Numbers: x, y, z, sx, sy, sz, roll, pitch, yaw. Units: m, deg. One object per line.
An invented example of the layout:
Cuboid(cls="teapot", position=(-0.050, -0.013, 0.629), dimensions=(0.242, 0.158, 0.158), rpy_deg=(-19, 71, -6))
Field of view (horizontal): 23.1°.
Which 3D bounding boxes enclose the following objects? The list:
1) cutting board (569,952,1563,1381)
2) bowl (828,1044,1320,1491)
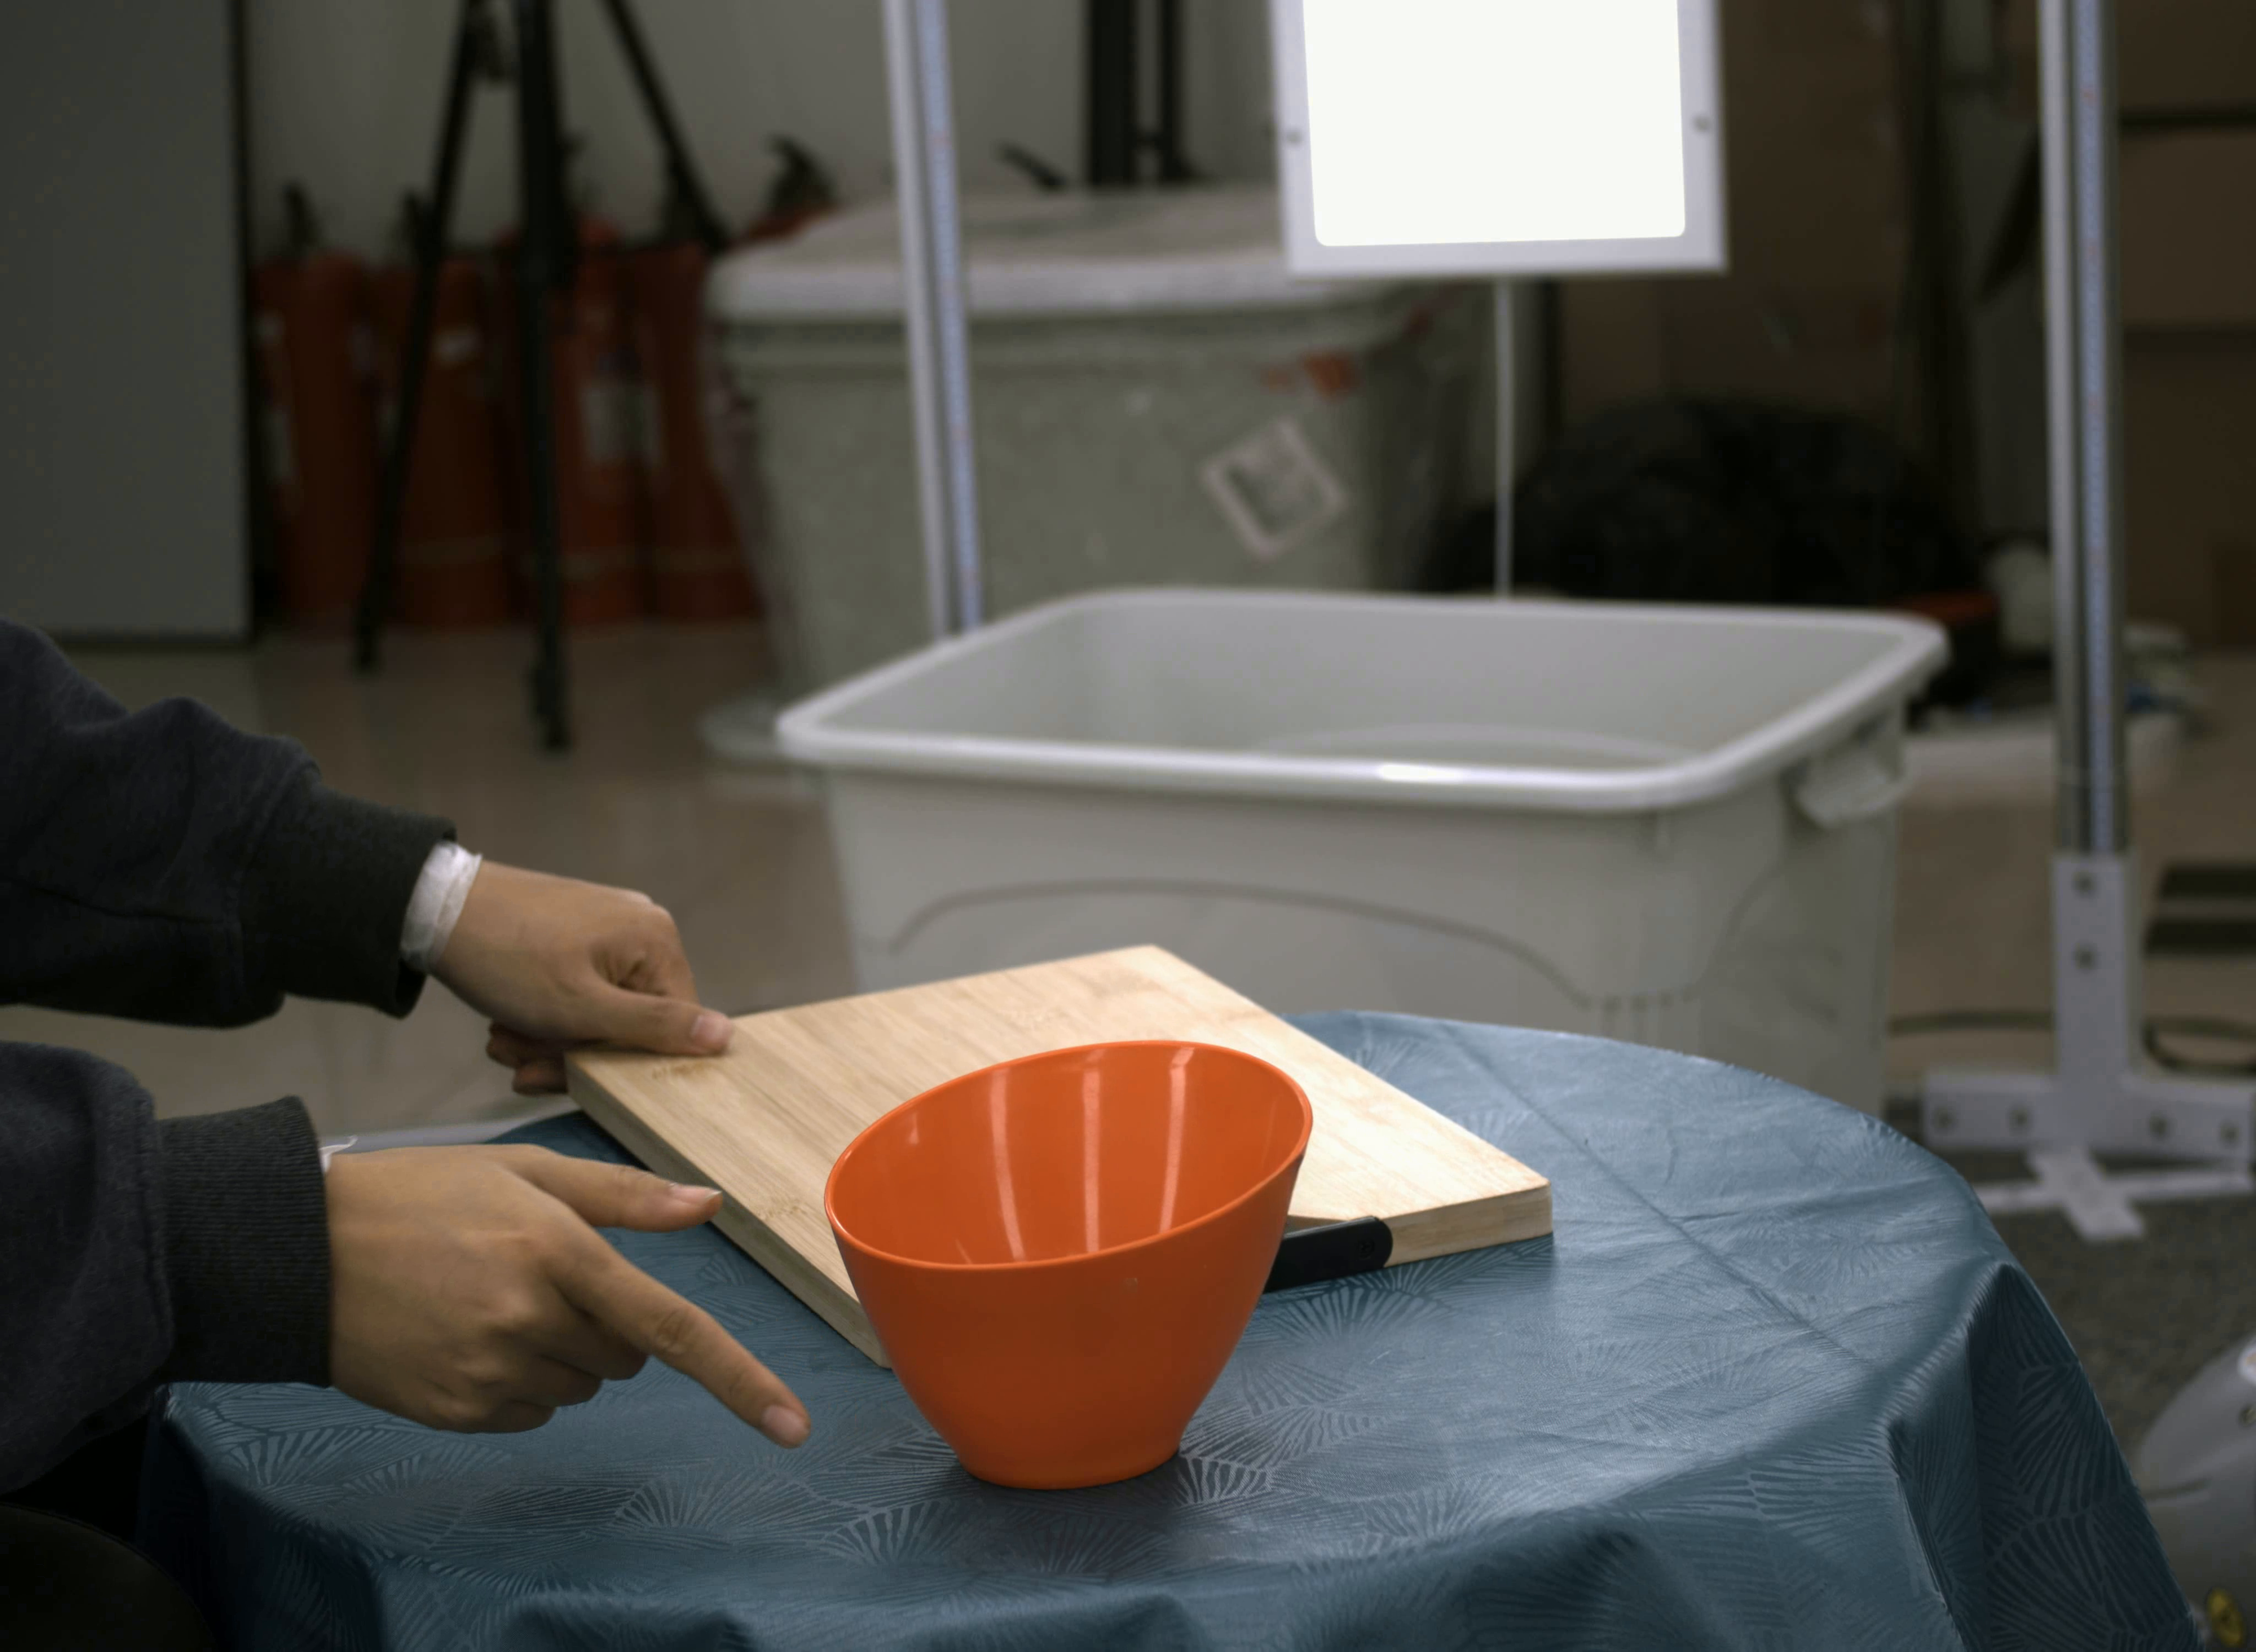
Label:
Cuboid(cls="cutting board", position=(-0.031, 0.111, 1.922), dimensions=(0.246, 0.023, 0.353), rpy_deg=(-11, 16, -20))
Cuboid(cls="bowl", position=(-0.015, 0.136, 1.648), dimensions=(0.147, 0.105, 0.148), rpy_deg=(-3, 15, -1))
